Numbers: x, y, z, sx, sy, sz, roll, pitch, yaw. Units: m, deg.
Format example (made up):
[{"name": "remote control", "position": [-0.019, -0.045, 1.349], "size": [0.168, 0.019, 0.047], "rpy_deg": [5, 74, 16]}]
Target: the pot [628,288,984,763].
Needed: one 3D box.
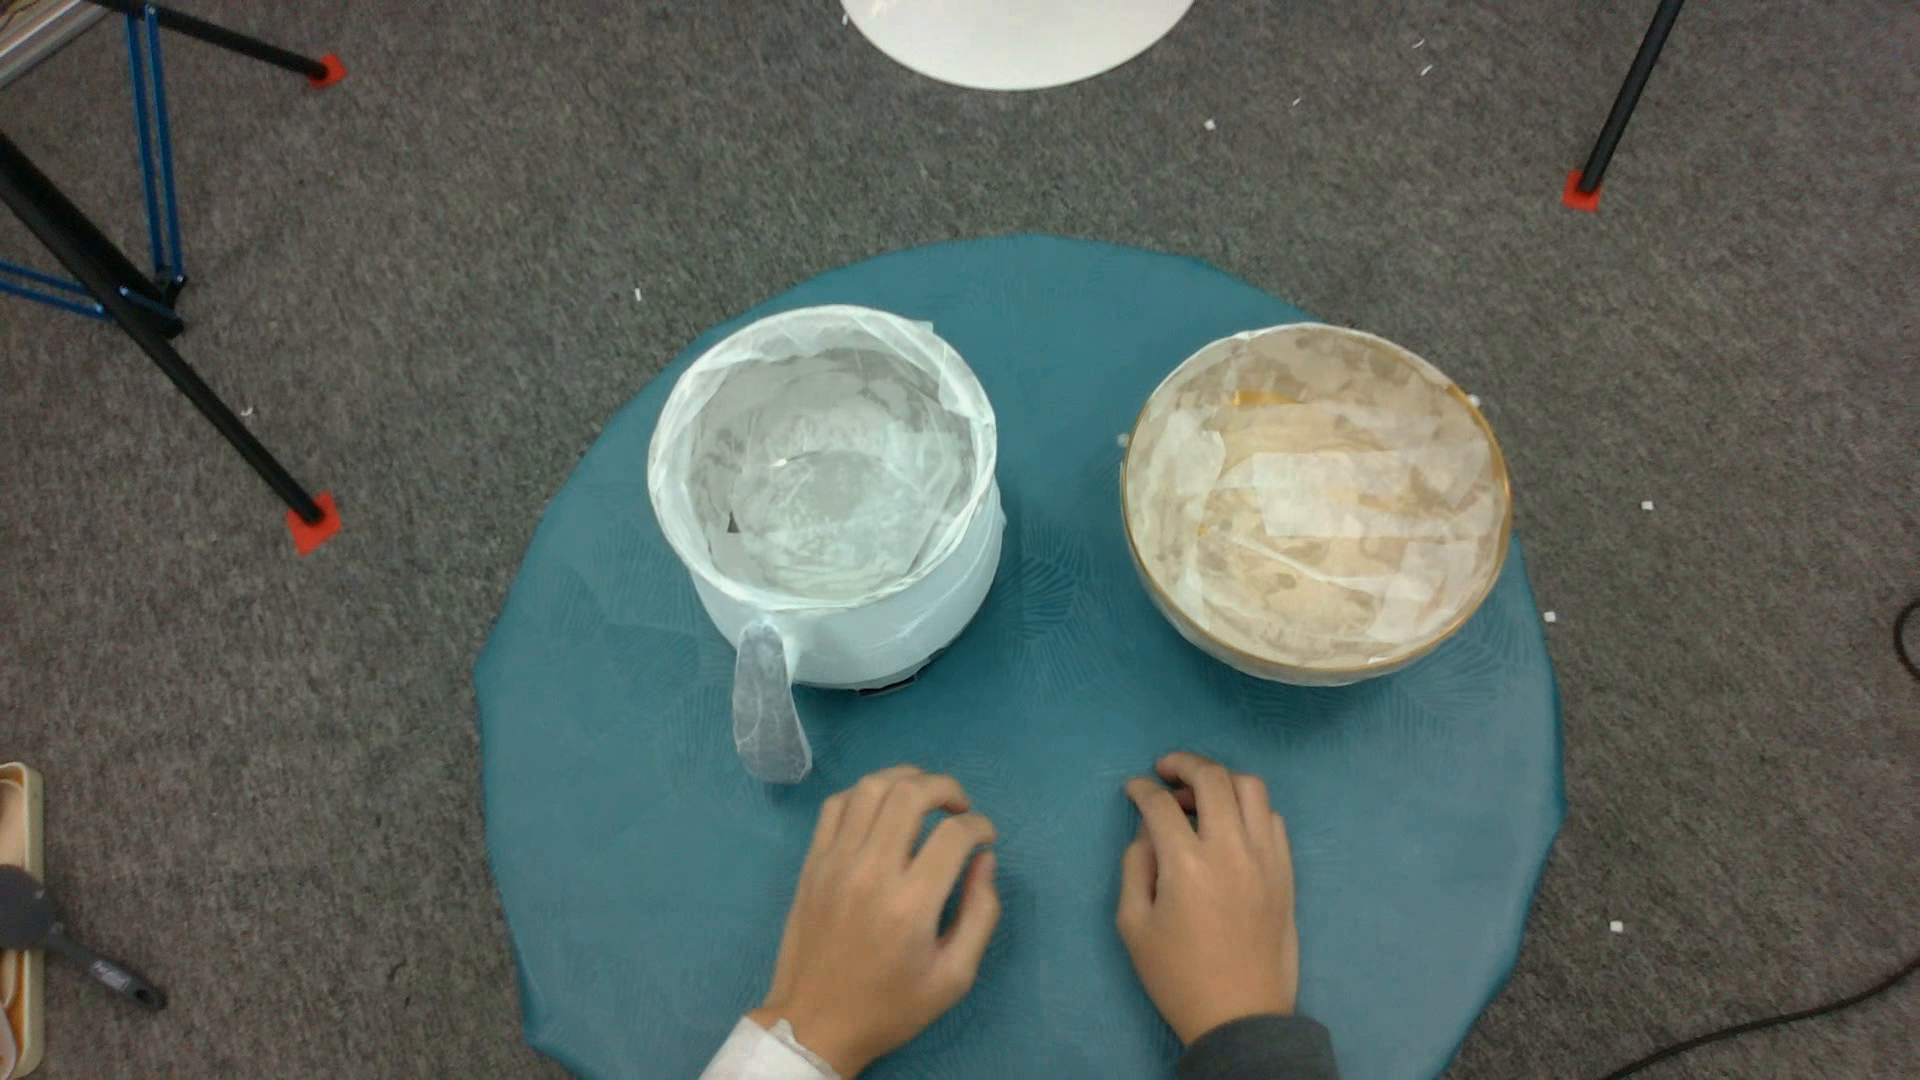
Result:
[{"name": "pot", "position": [-0.082, -0.003, 0.738], "size": [0.178, 0.136, 0.234], "rpy_deg": [10, 66, 8]}]

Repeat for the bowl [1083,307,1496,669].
[{"name": "bowl", "position": [0.174, -0.016, 0.756], "size": [0.215, 0.094, 0.215], "rpy_deg": [0, 66, 1]}]
